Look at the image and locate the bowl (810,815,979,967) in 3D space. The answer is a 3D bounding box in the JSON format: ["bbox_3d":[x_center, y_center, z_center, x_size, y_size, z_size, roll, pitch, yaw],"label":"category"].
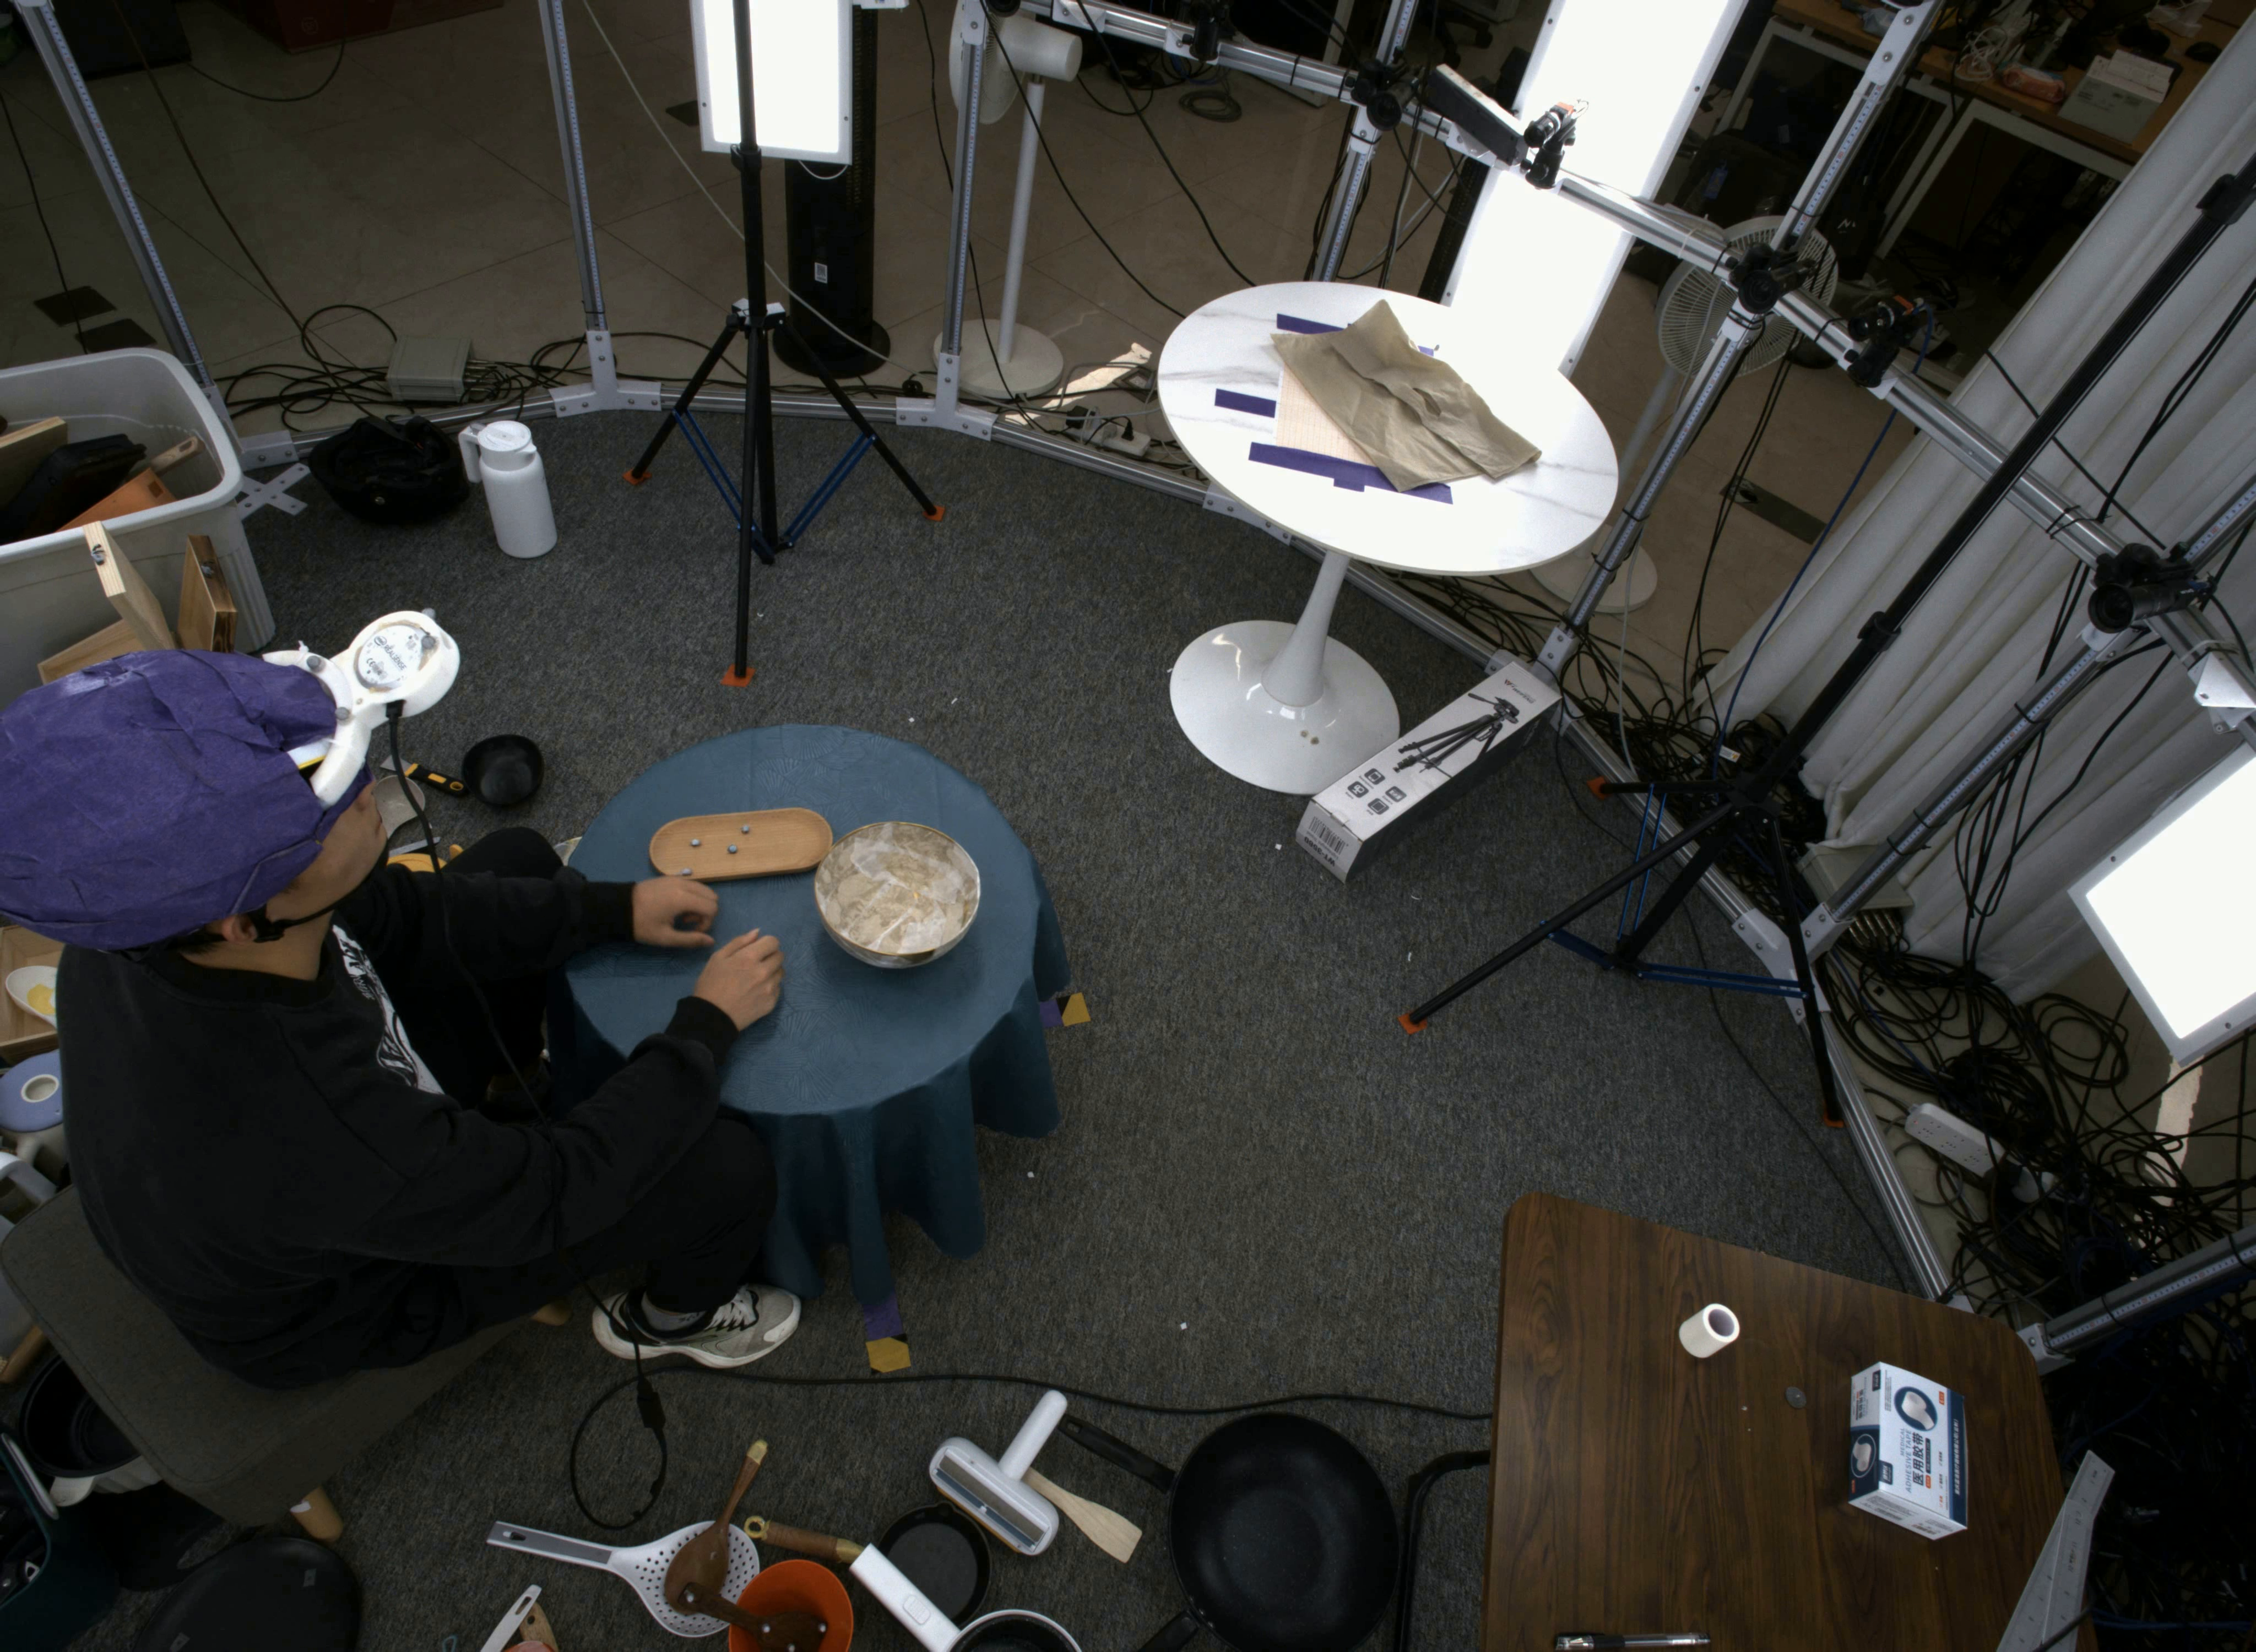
[{"bbox_3d":[-0.294,0.094,1.632,0.214,0.096,0.211,8,53,-9],"label":"bowl"}]

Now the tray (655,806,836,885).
[{"bbox_3d":[-0.497,0.024,1.683,0.232,0.020,0.099,-6,58,-21],"label":"tray"}]
